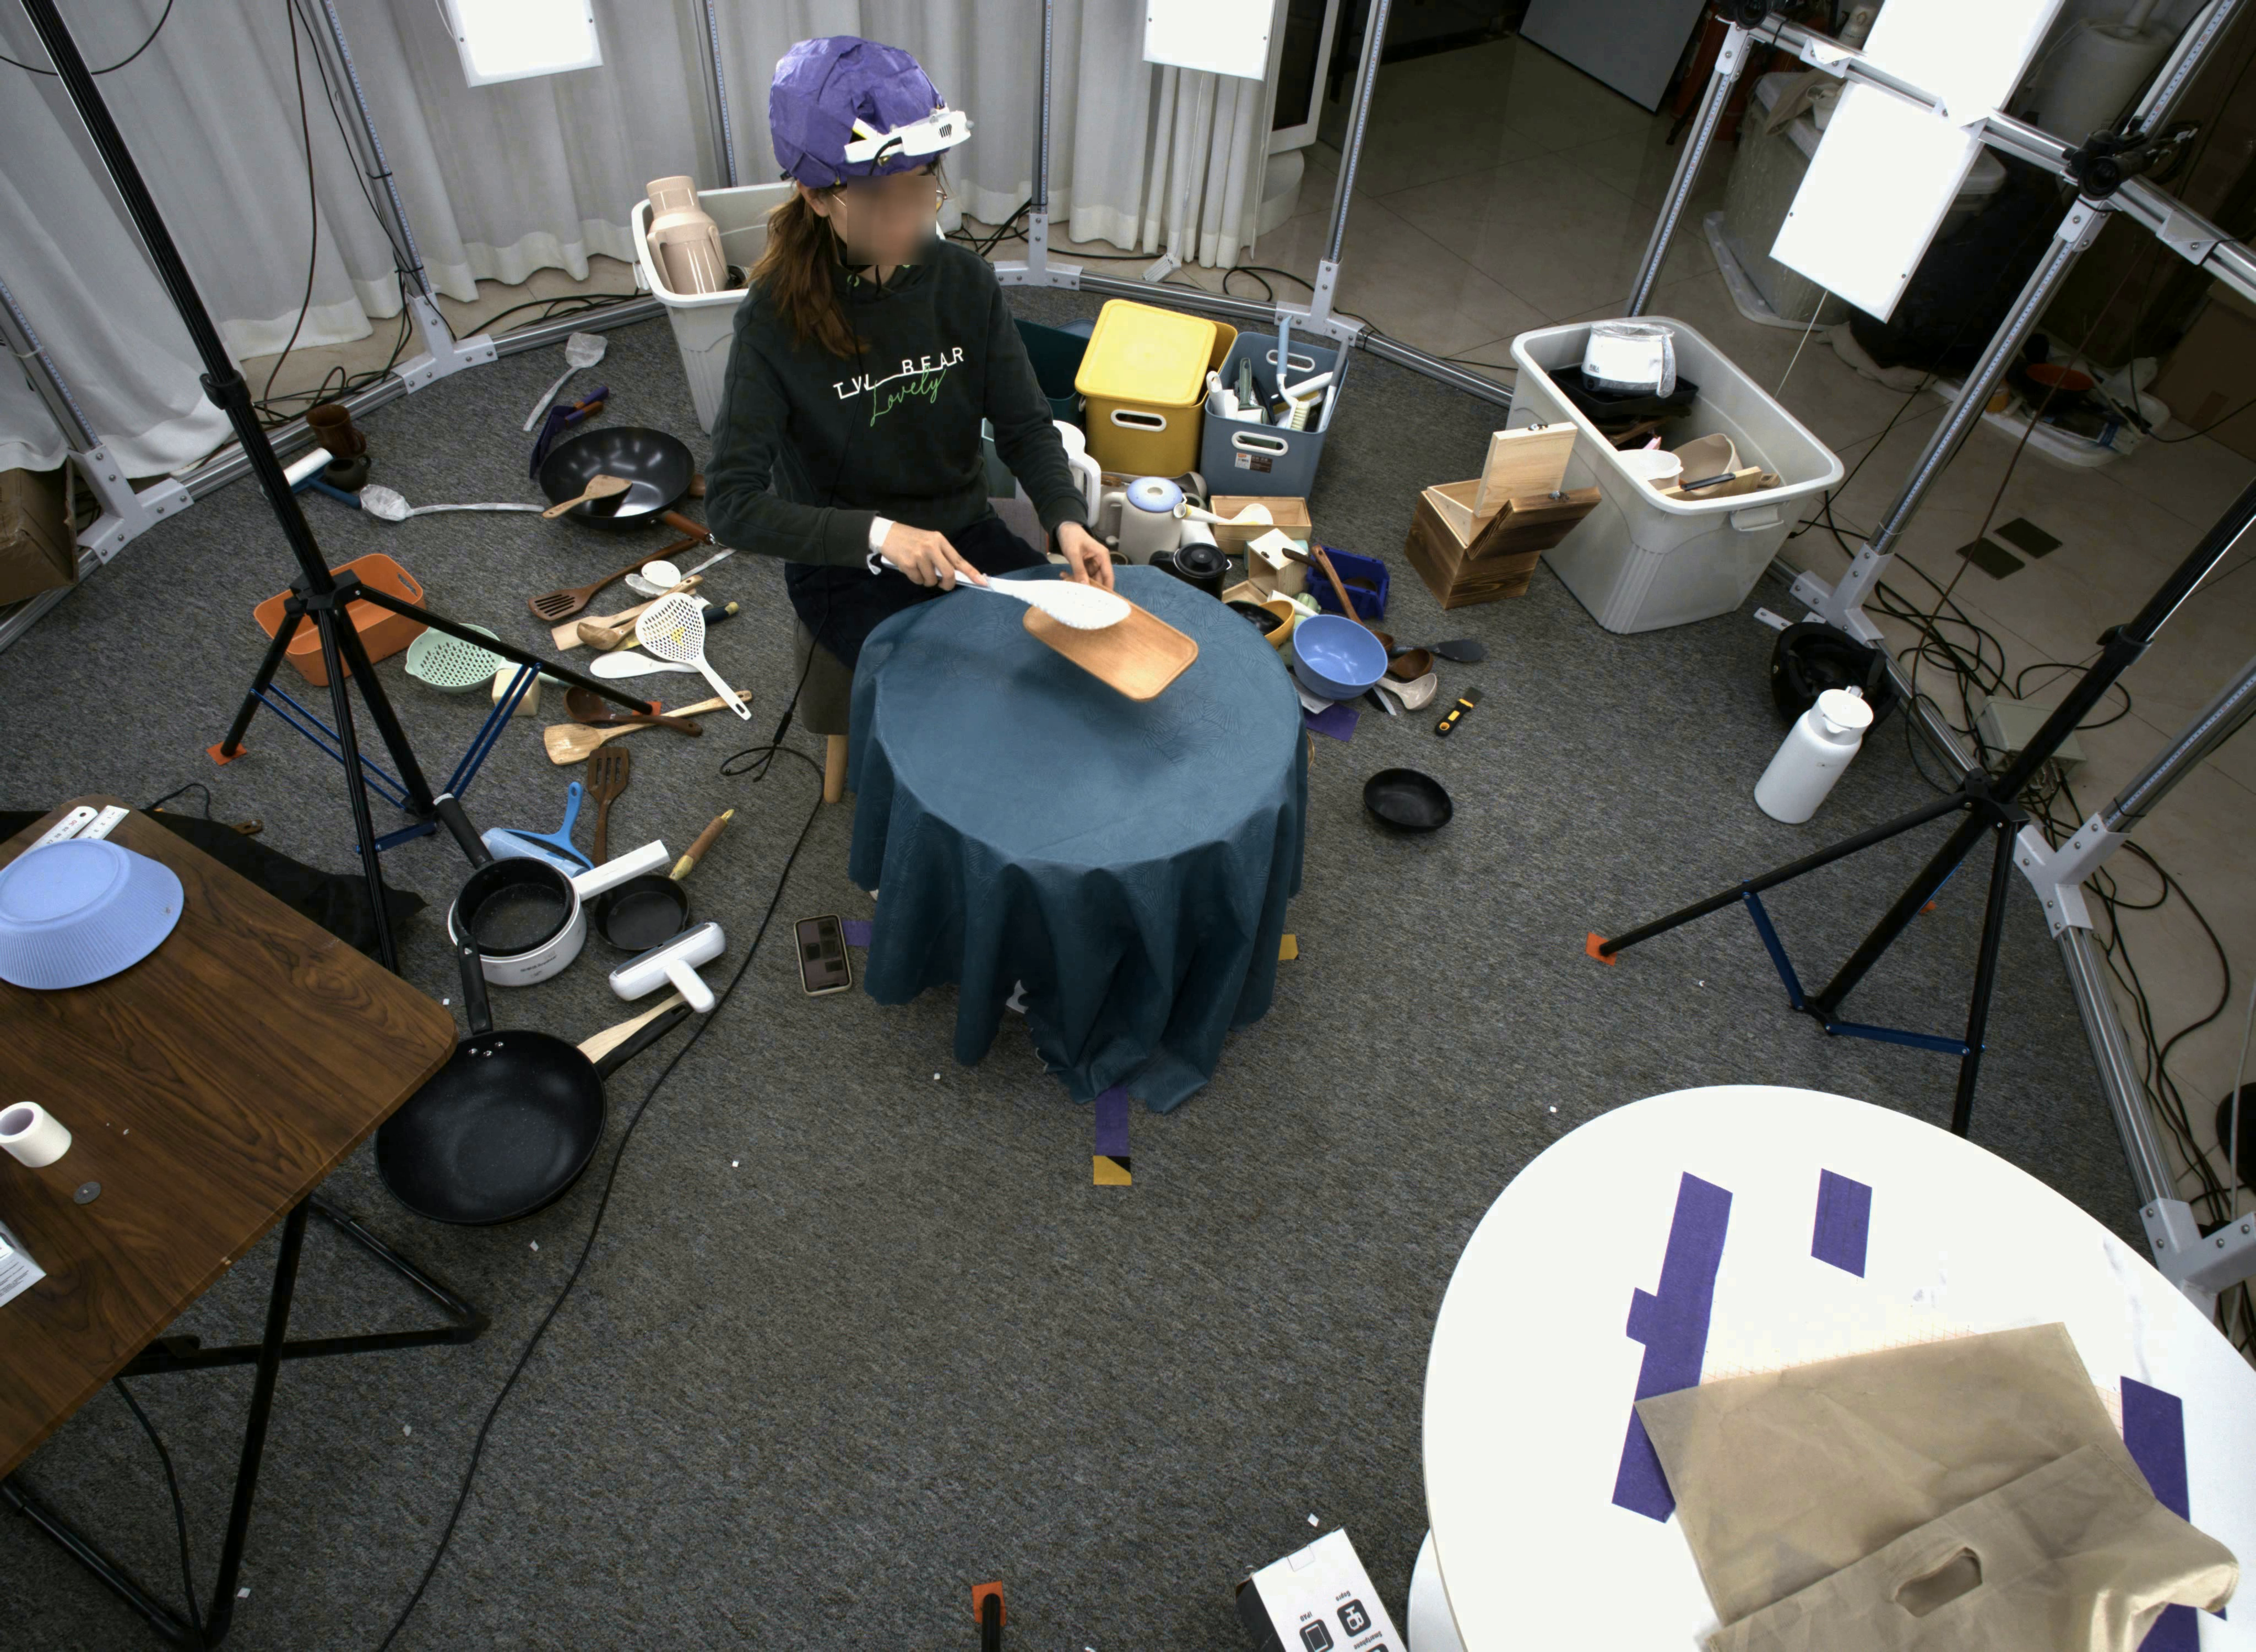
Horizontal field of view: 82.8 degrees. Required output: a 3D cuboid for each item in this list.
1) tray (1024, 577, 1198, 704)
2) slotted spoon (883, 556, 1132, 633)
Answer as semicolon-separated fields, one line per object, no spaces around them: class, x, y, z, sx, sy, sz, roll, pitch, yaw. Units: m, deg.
tray;-0.025;-0.262;1.798;0.254;0.022;0.132;35;65;30
slotted spoon;-0.167;-0.325;1.770;0.351;0.135;0.046;18;82;8
